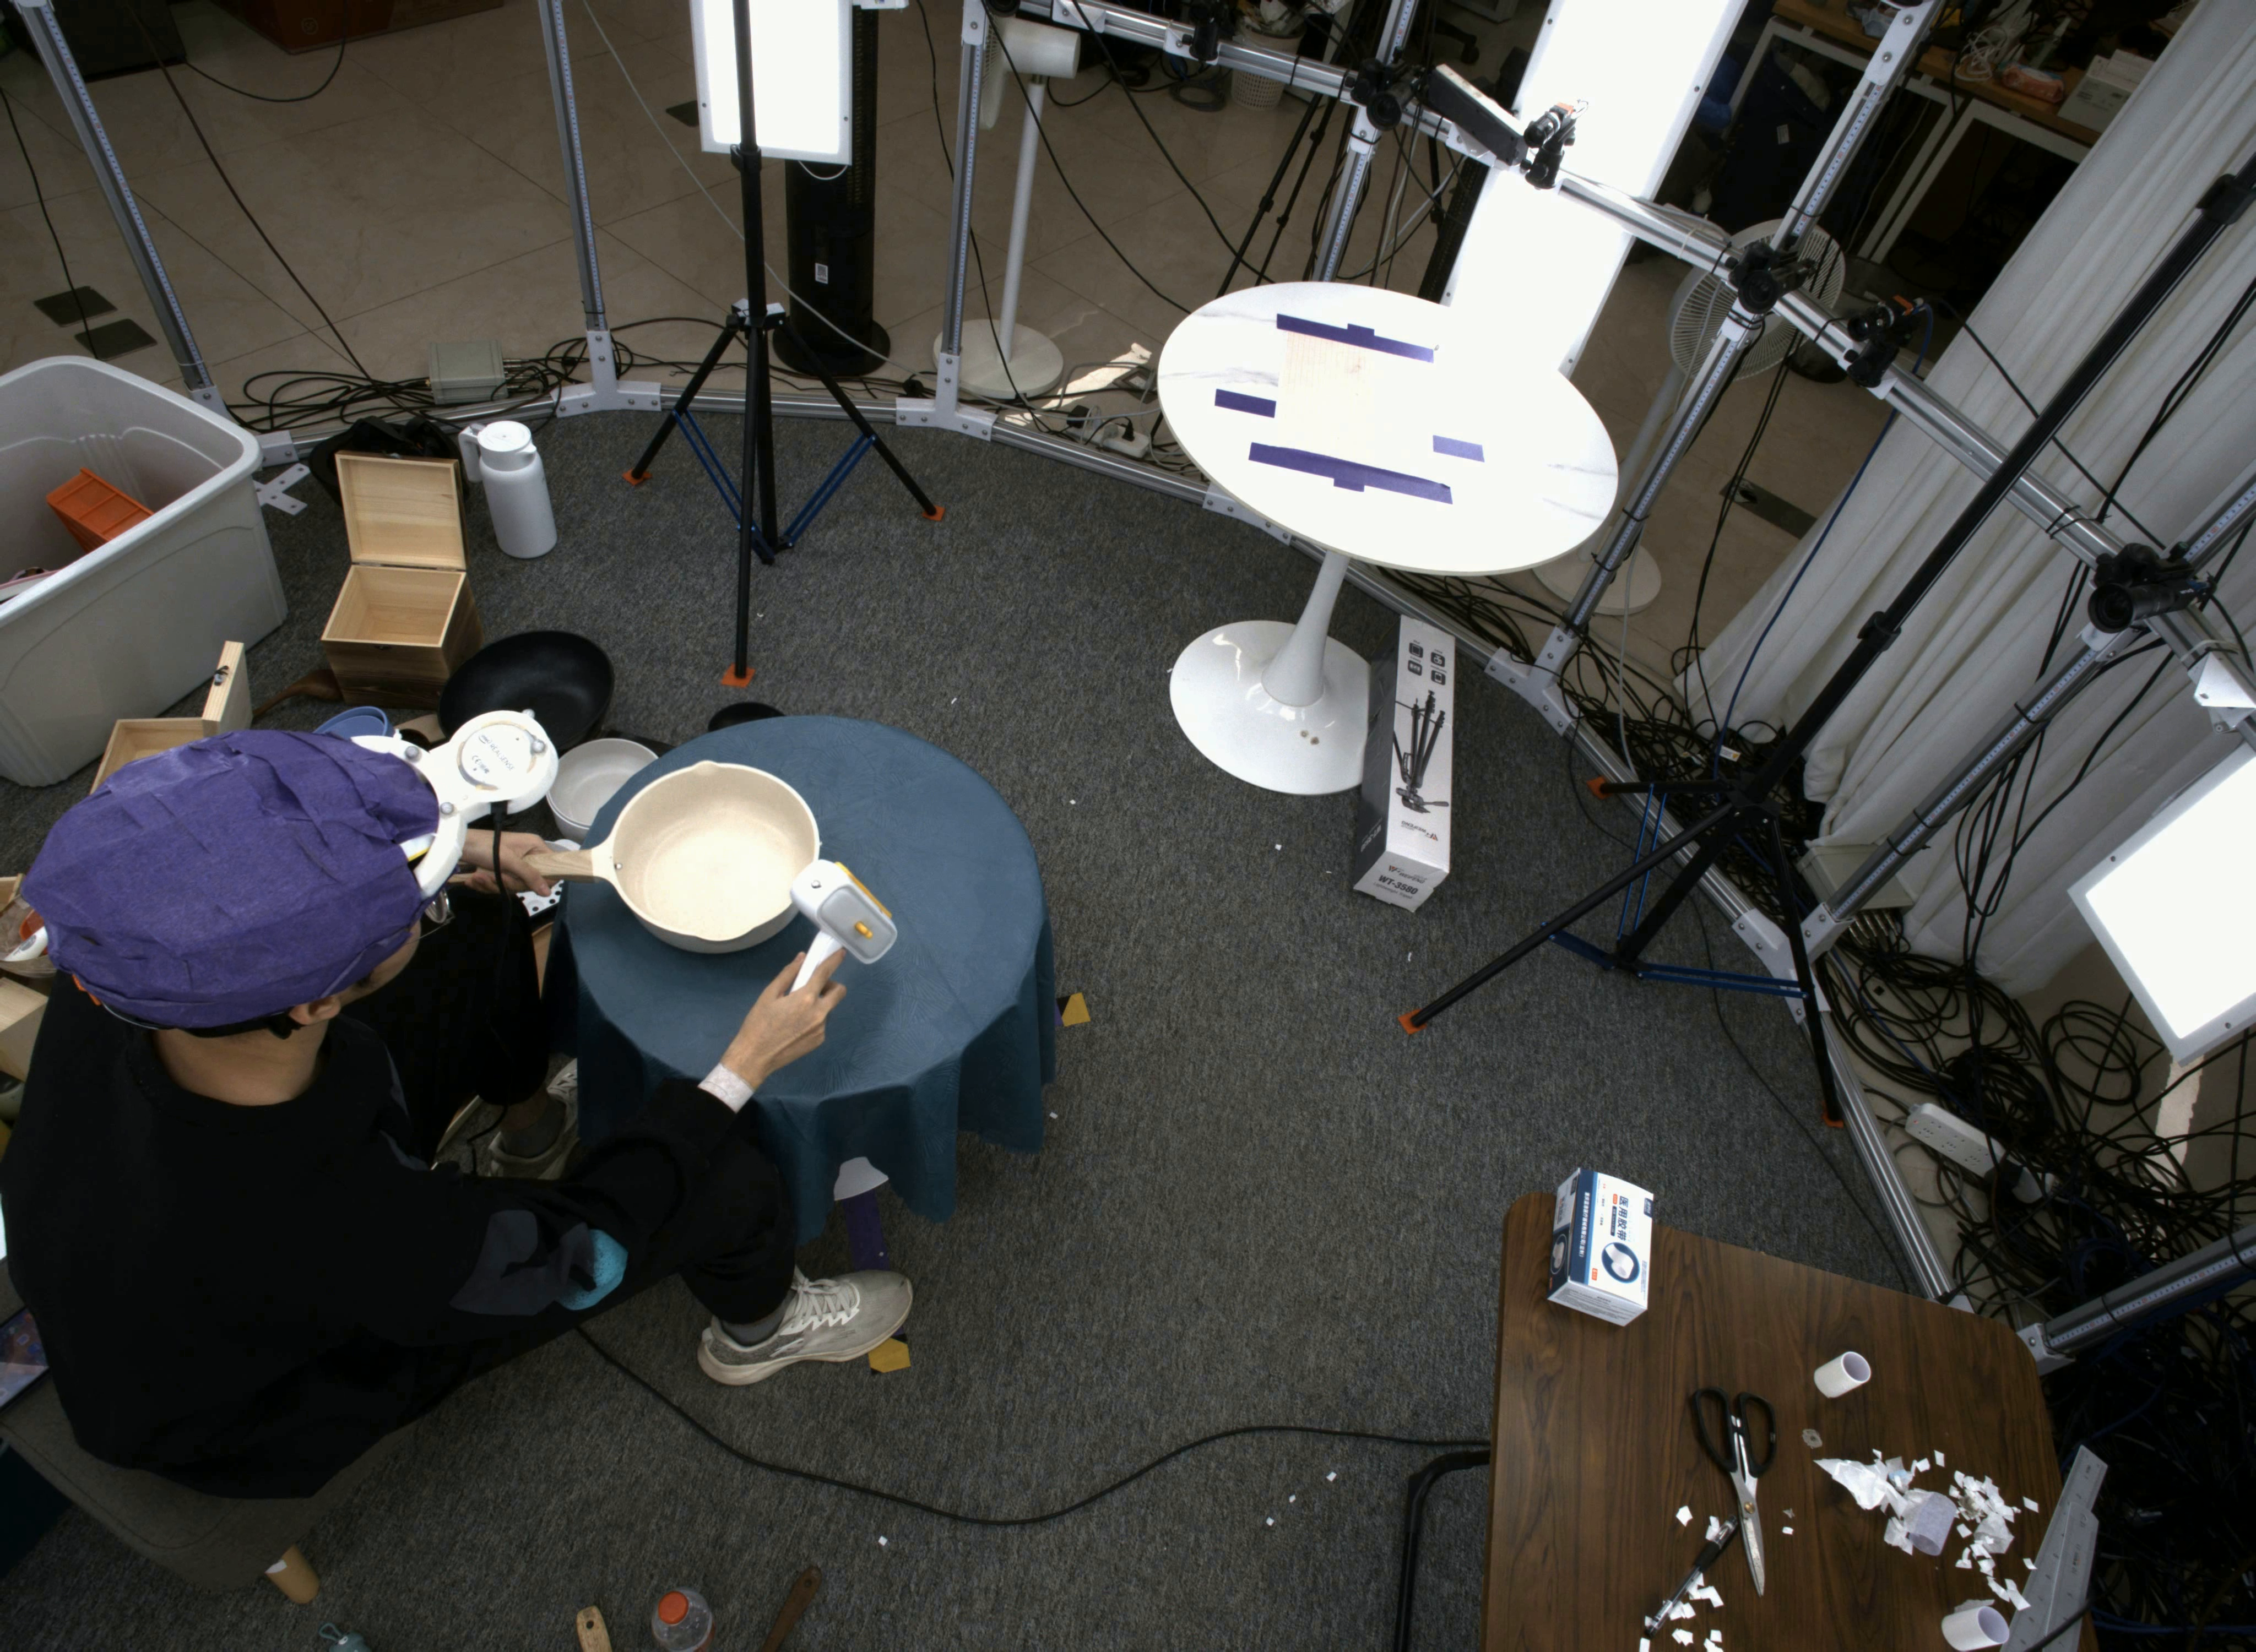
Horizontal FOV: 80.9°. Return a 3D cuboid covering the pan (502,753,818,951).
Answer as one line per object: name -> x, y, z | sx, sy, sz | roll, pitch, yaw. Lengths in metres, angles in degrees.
pan -> -0.598, 0.049, 1.573 | 0.436, 0.103, 0.259 | -8, 64, -18

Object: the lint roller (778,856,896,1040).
lint roller -> -0.355, 0.148, 1.492 | 0.072, 0.198, 0.193 | 28, 77, 20
